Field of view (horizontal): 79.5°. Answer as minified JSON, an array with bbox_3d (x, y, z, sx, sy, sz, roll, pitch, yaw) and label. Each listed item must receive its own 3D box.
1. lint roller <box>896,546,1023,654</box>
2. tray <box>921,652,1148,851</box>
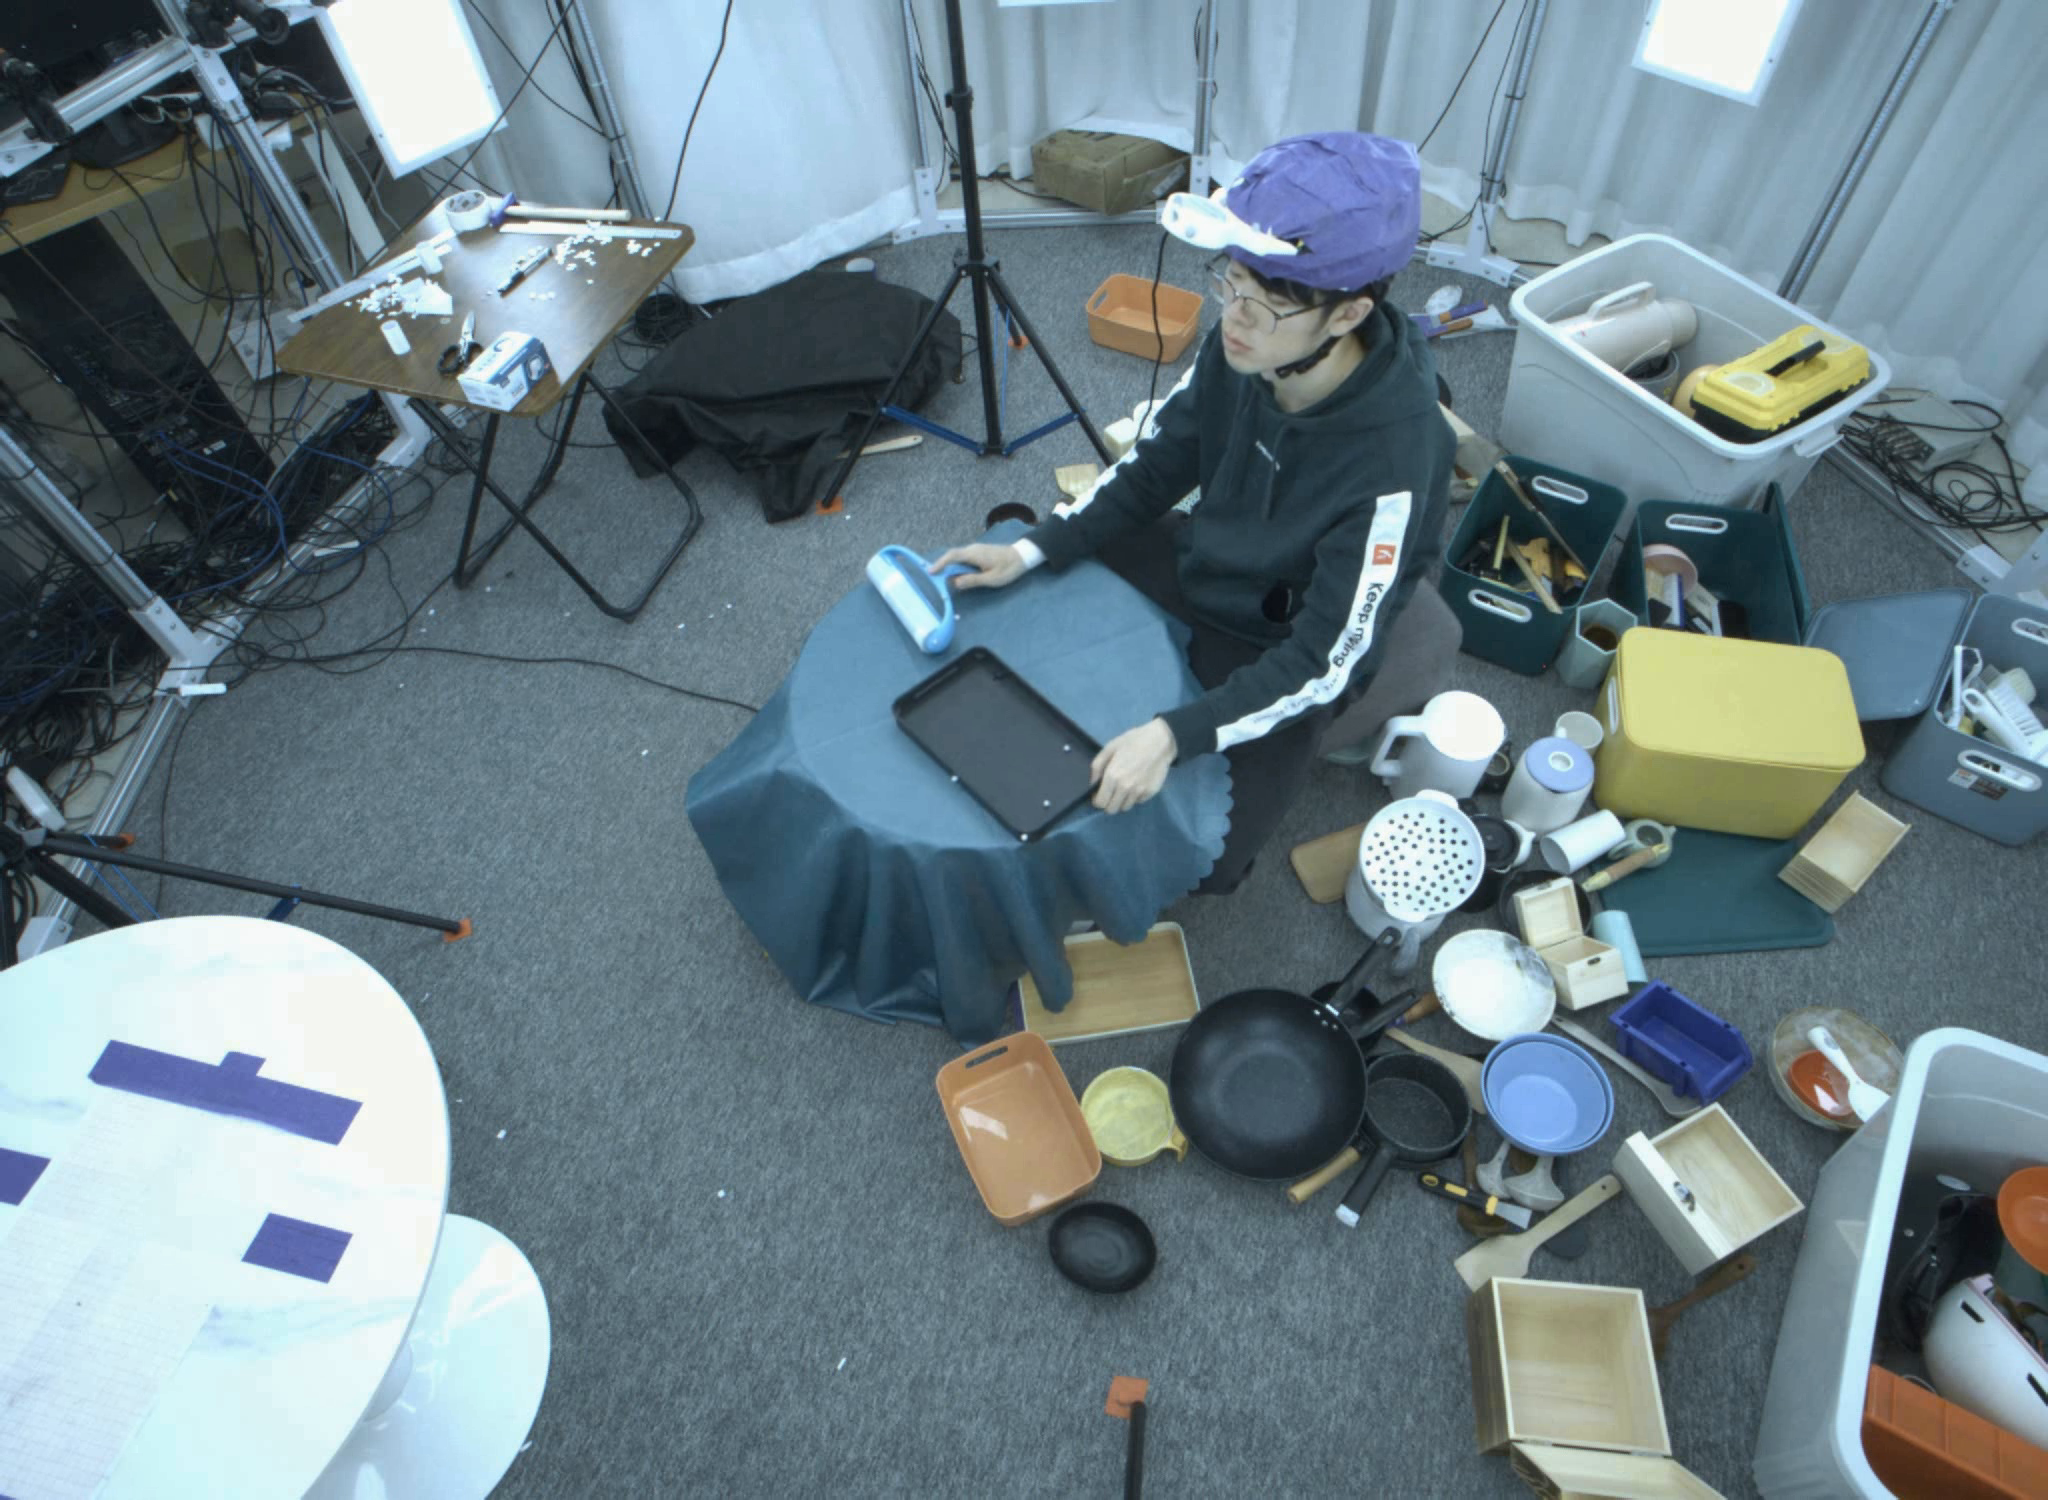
[{"bbox_3d":[-0.086,-0.260,1.936,0.181,0.069,0.224,-29,56,-16],"label":"lint roller"},{"bbox_3d":[0.012,-0.004,1.764,0.186,0.037,0.312,-35,59,-21],"label":"tray"}]
